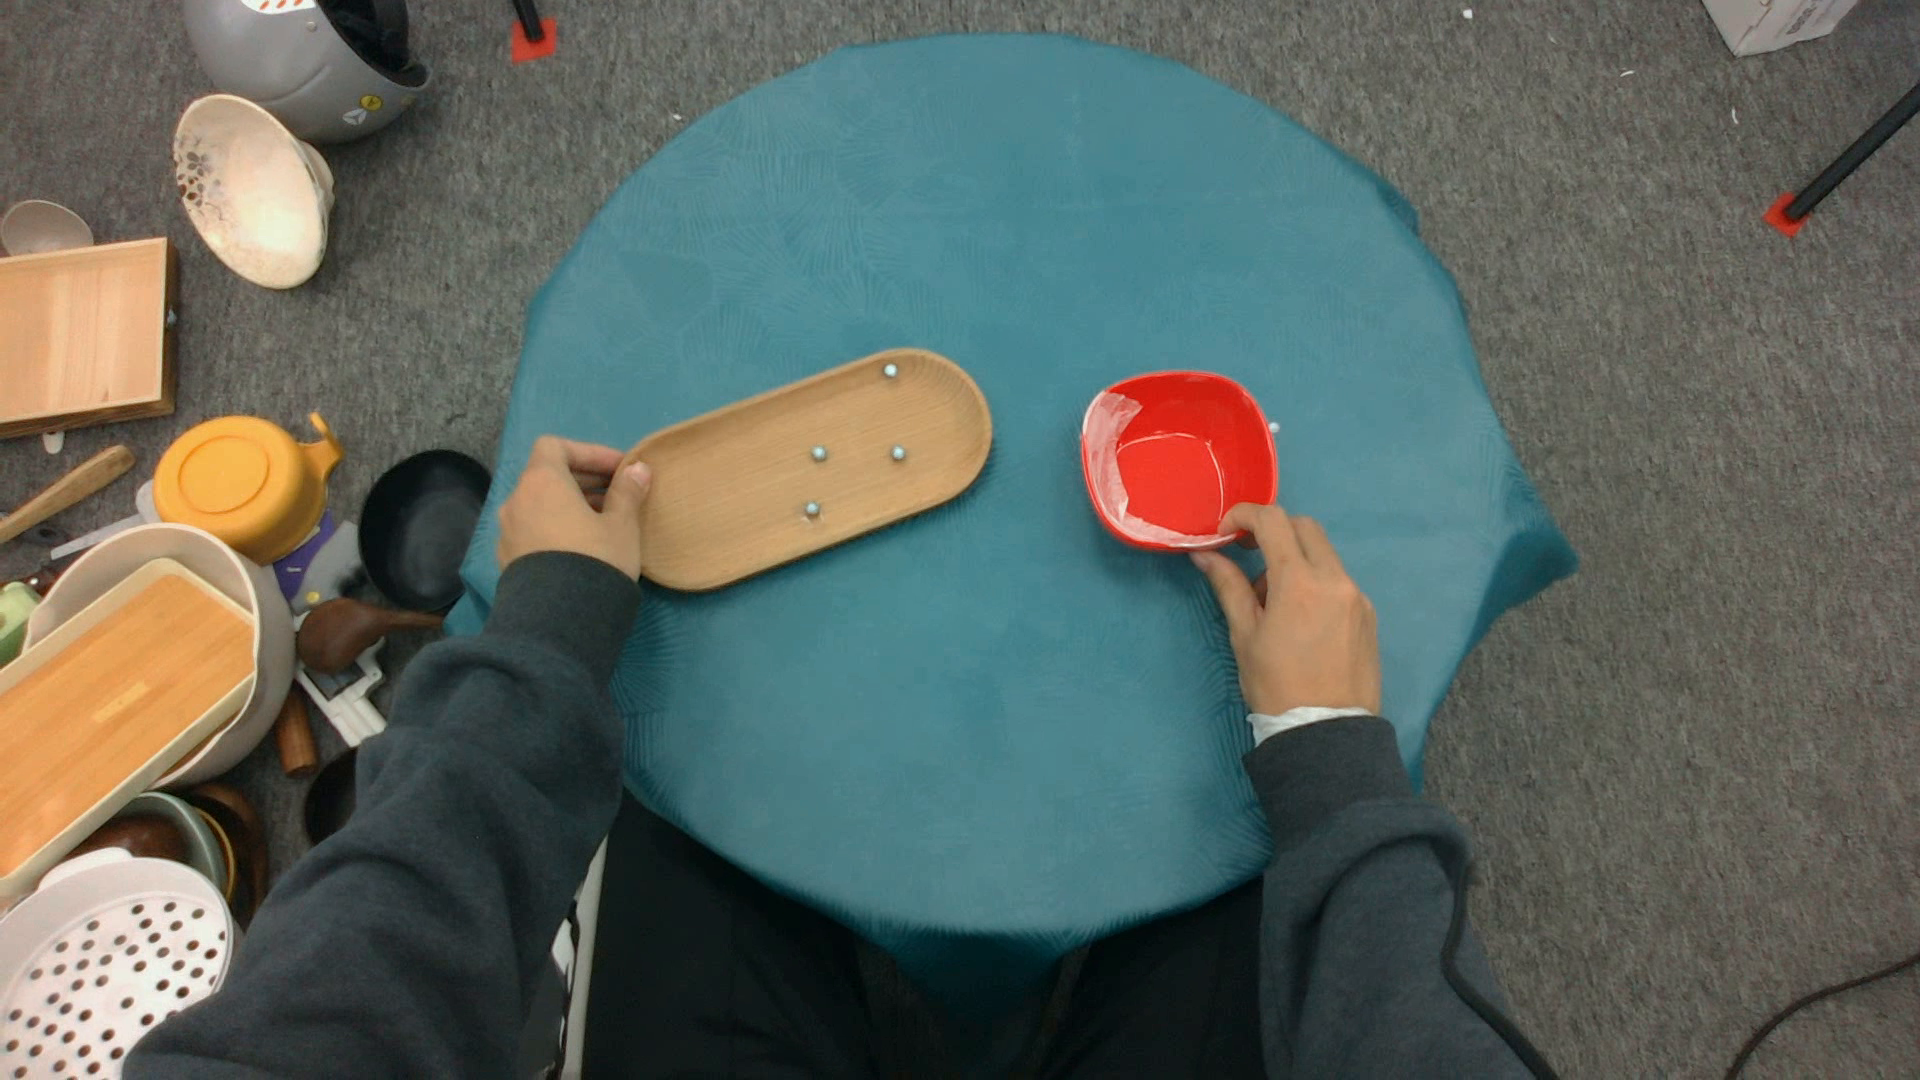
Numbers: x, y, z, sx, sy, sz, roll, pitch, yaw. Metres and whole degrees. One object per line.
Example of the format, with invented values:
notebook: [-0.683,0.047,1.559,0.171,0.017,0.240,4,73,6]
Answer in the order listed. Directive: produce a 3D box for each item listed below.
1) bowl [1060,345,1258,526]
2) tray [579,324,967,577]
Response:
bowl: [0.111,-0.053,0.794,0.119,0.051,0.119,1,67,-2]
tray: [-0.106,-0.053,0.800,0.231,0.020,0.102,-23,80,-11]
